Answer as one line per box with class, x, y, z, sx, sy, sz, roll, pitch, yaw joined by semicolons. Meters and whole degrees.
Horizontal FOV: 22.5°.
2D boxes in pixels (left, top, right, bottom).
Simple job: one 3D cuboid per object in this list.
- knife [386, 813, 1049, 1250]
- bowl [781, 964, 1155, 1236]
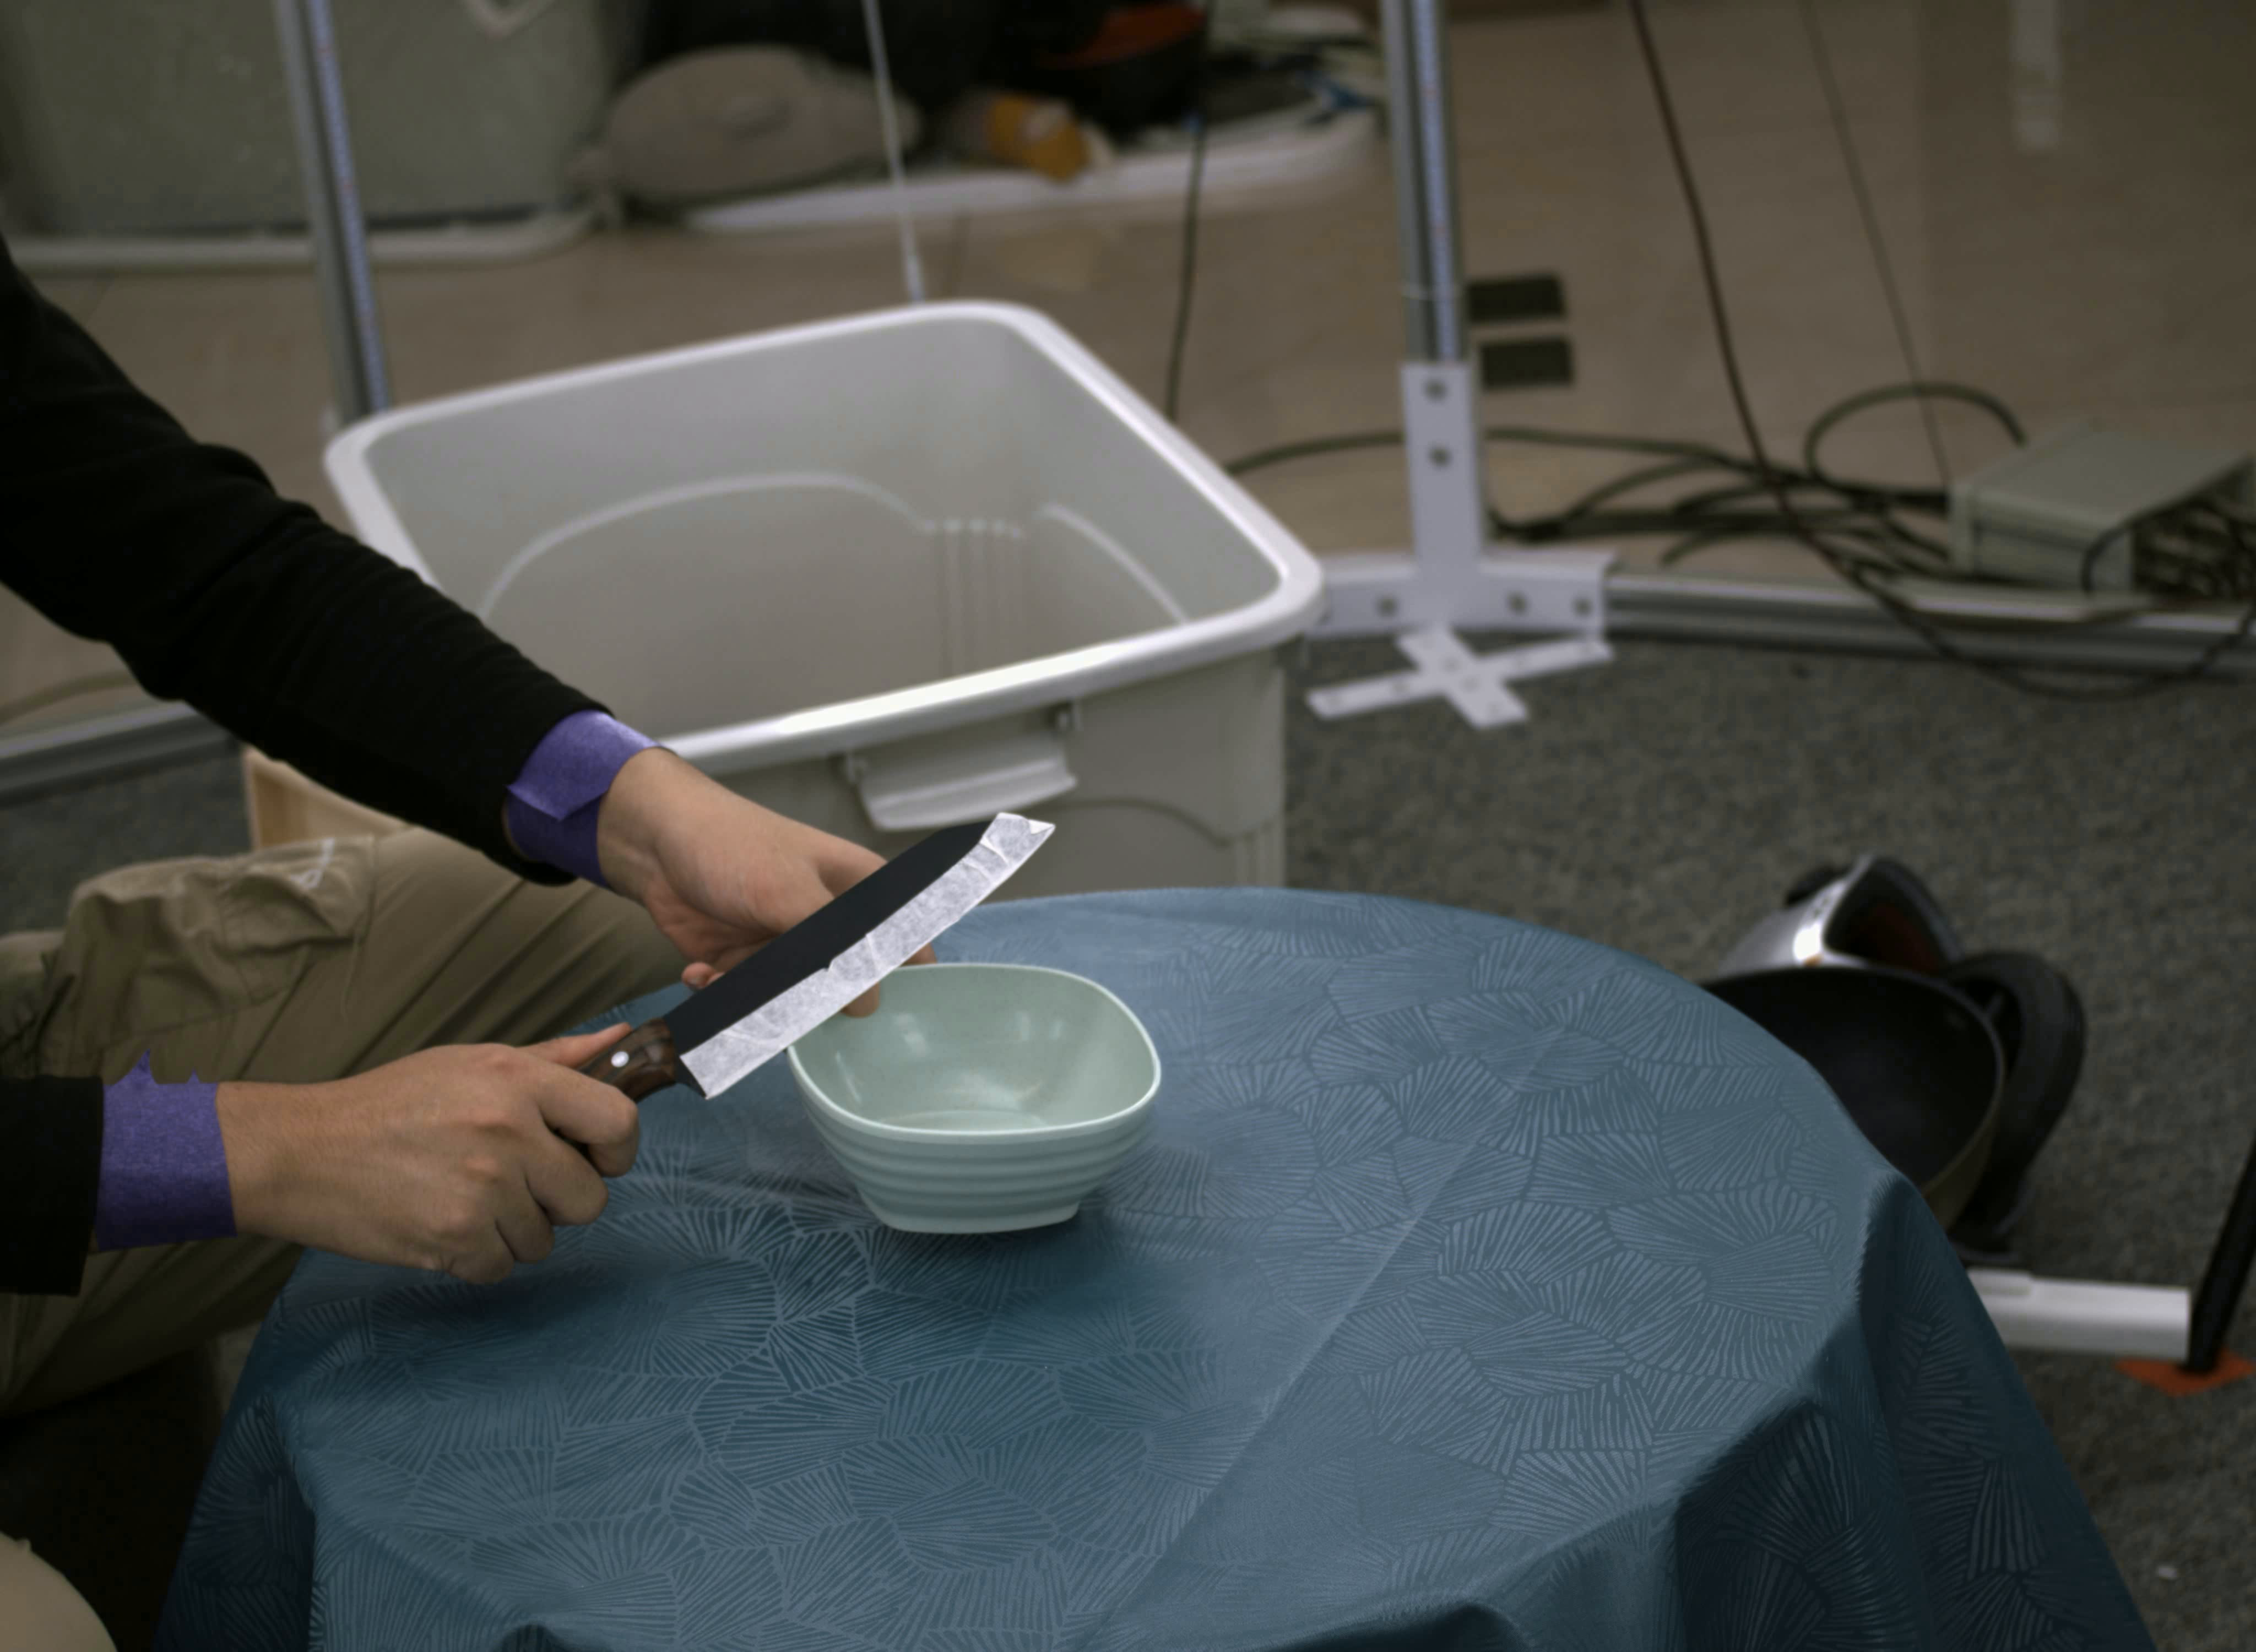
knife;-0.152;0.074;2.125;0.288;0.020;0.049;-33;57;-6
bowl;-0.063;0.109;2.136;0.151;0.059;0.149;5;26;-3
